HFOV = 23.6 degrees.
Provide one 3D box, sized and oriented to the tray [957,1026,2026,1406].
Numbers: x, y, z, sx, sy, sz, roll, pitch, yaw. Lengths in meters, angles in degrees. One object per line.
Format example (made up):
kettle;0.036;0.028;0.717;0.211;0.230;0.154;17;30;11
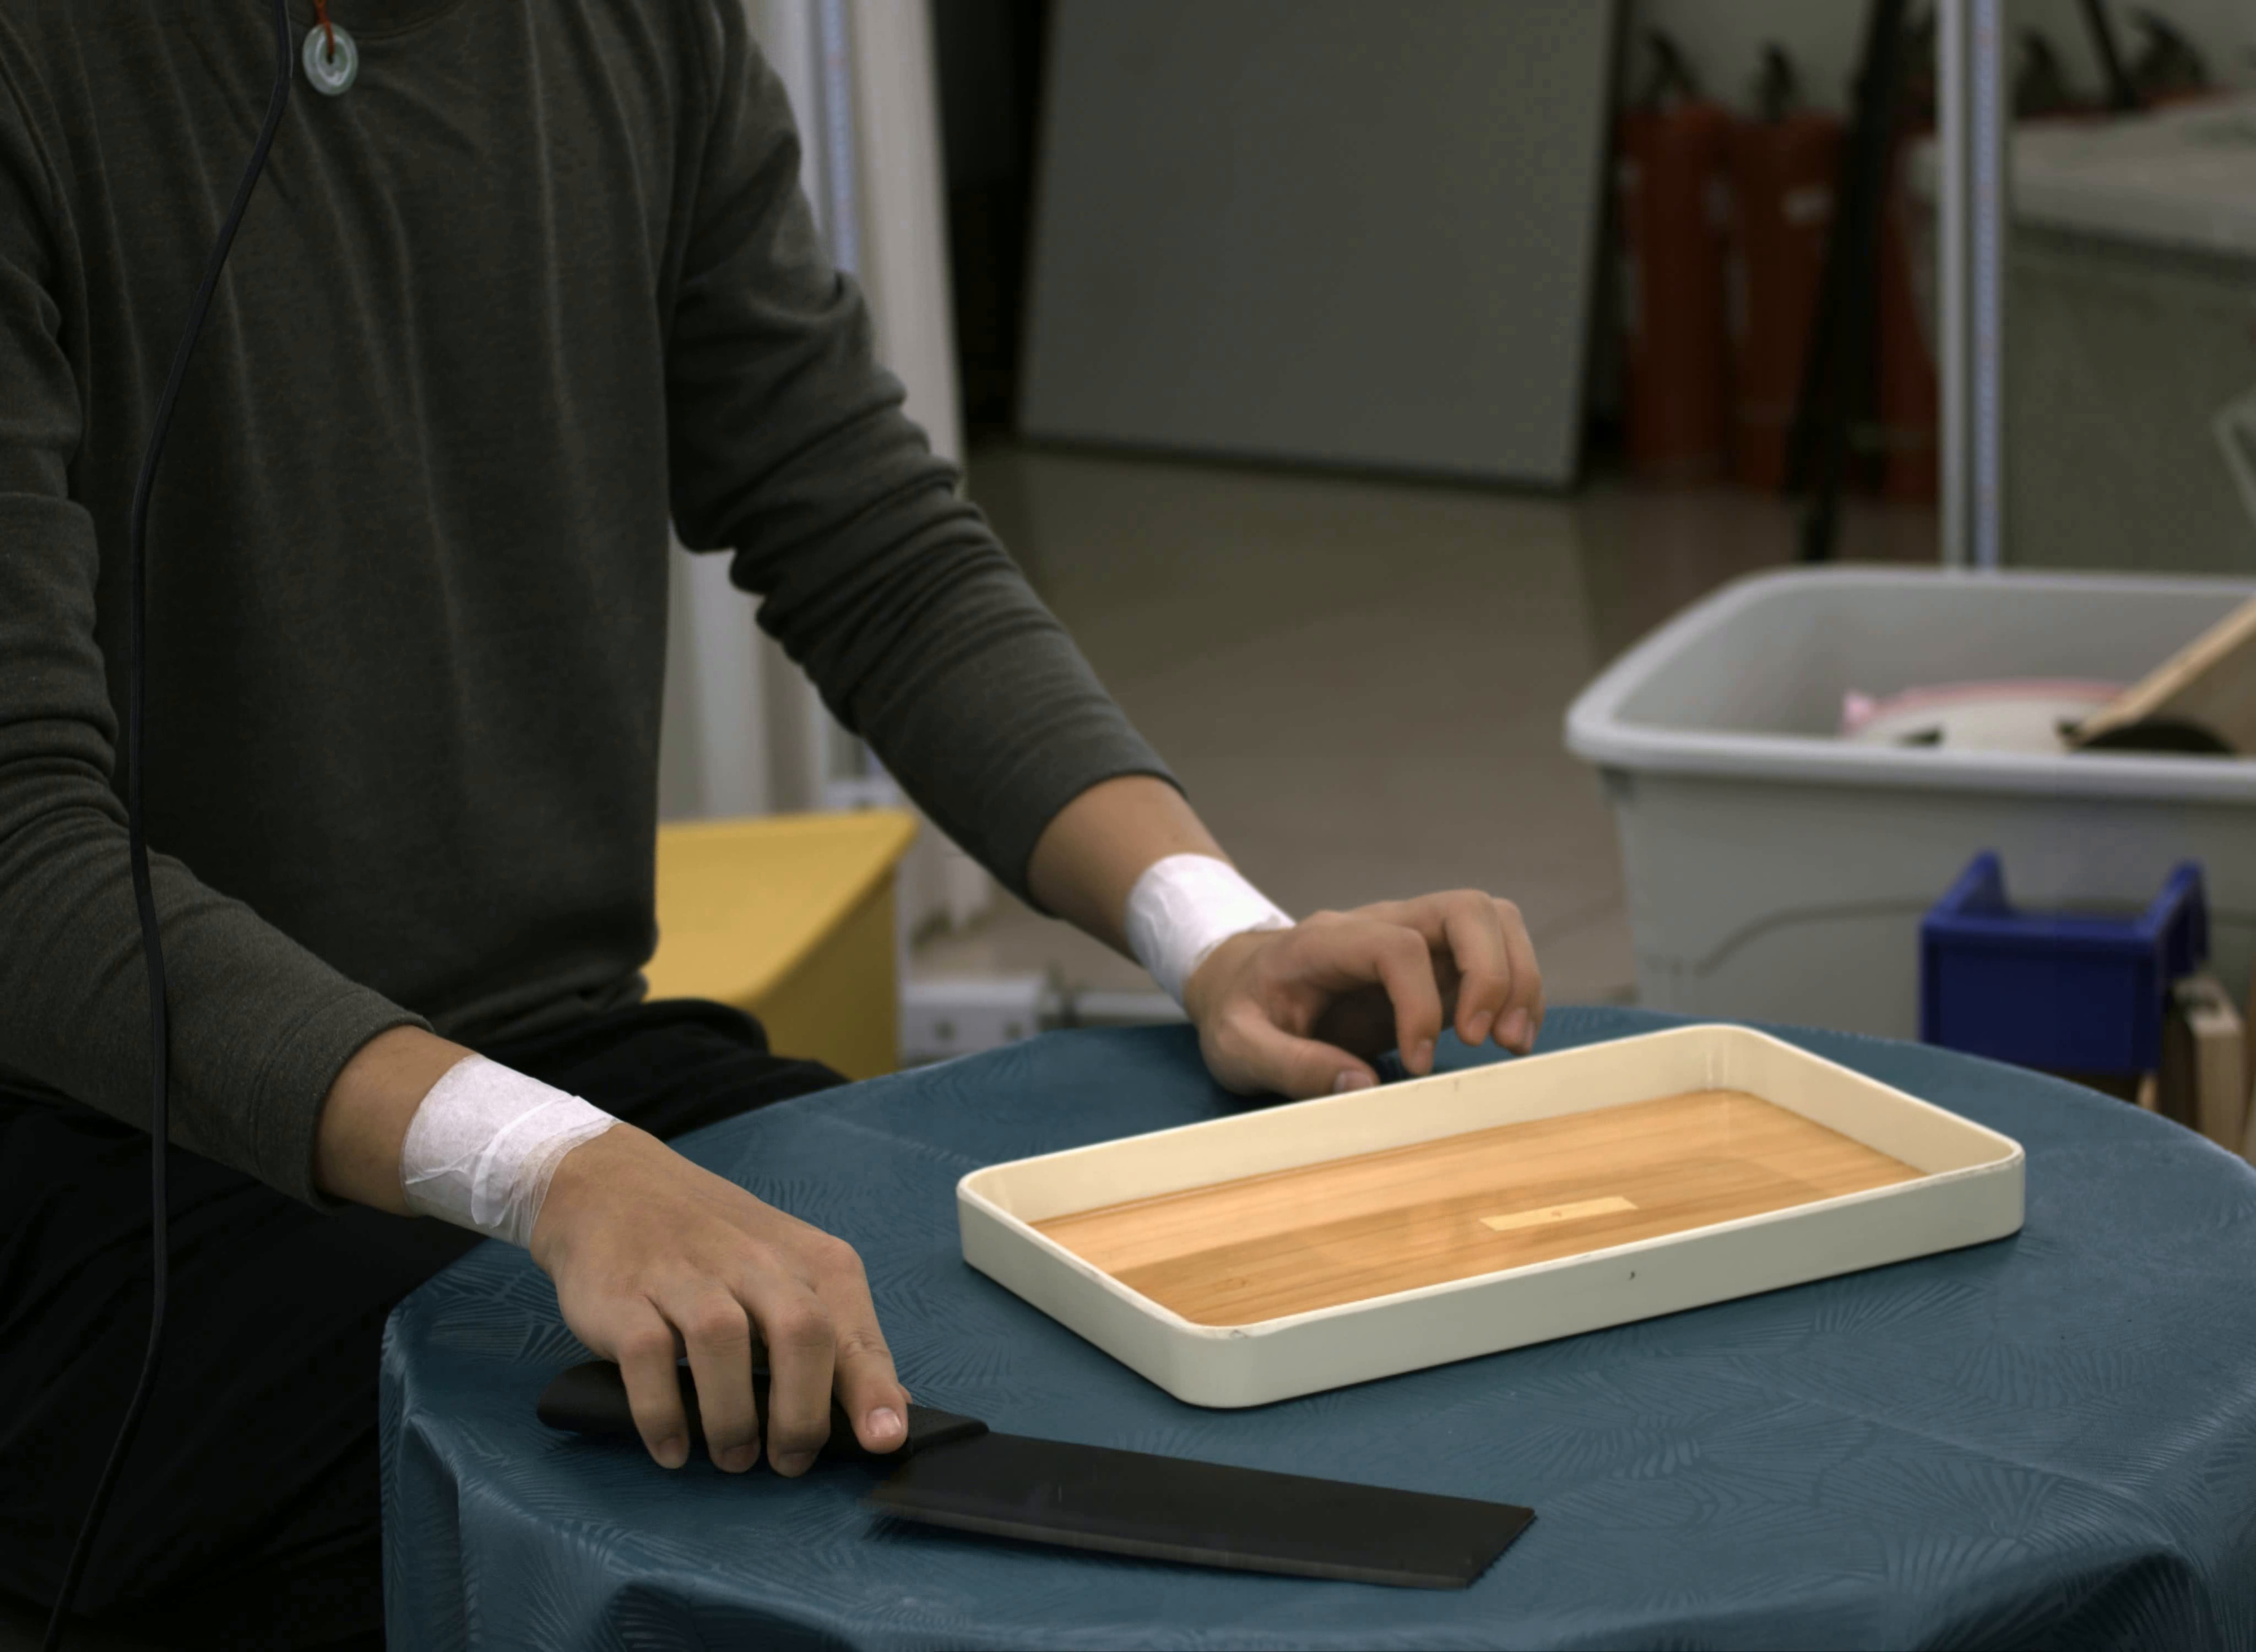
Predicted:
tray;0.113;0.119;1.694;0.294;0.028;0.193;-10;14;-23

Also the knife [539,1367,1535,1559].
knife;-0.033;0.179;1.505;0.303;0.021;0.079;5;10;29
